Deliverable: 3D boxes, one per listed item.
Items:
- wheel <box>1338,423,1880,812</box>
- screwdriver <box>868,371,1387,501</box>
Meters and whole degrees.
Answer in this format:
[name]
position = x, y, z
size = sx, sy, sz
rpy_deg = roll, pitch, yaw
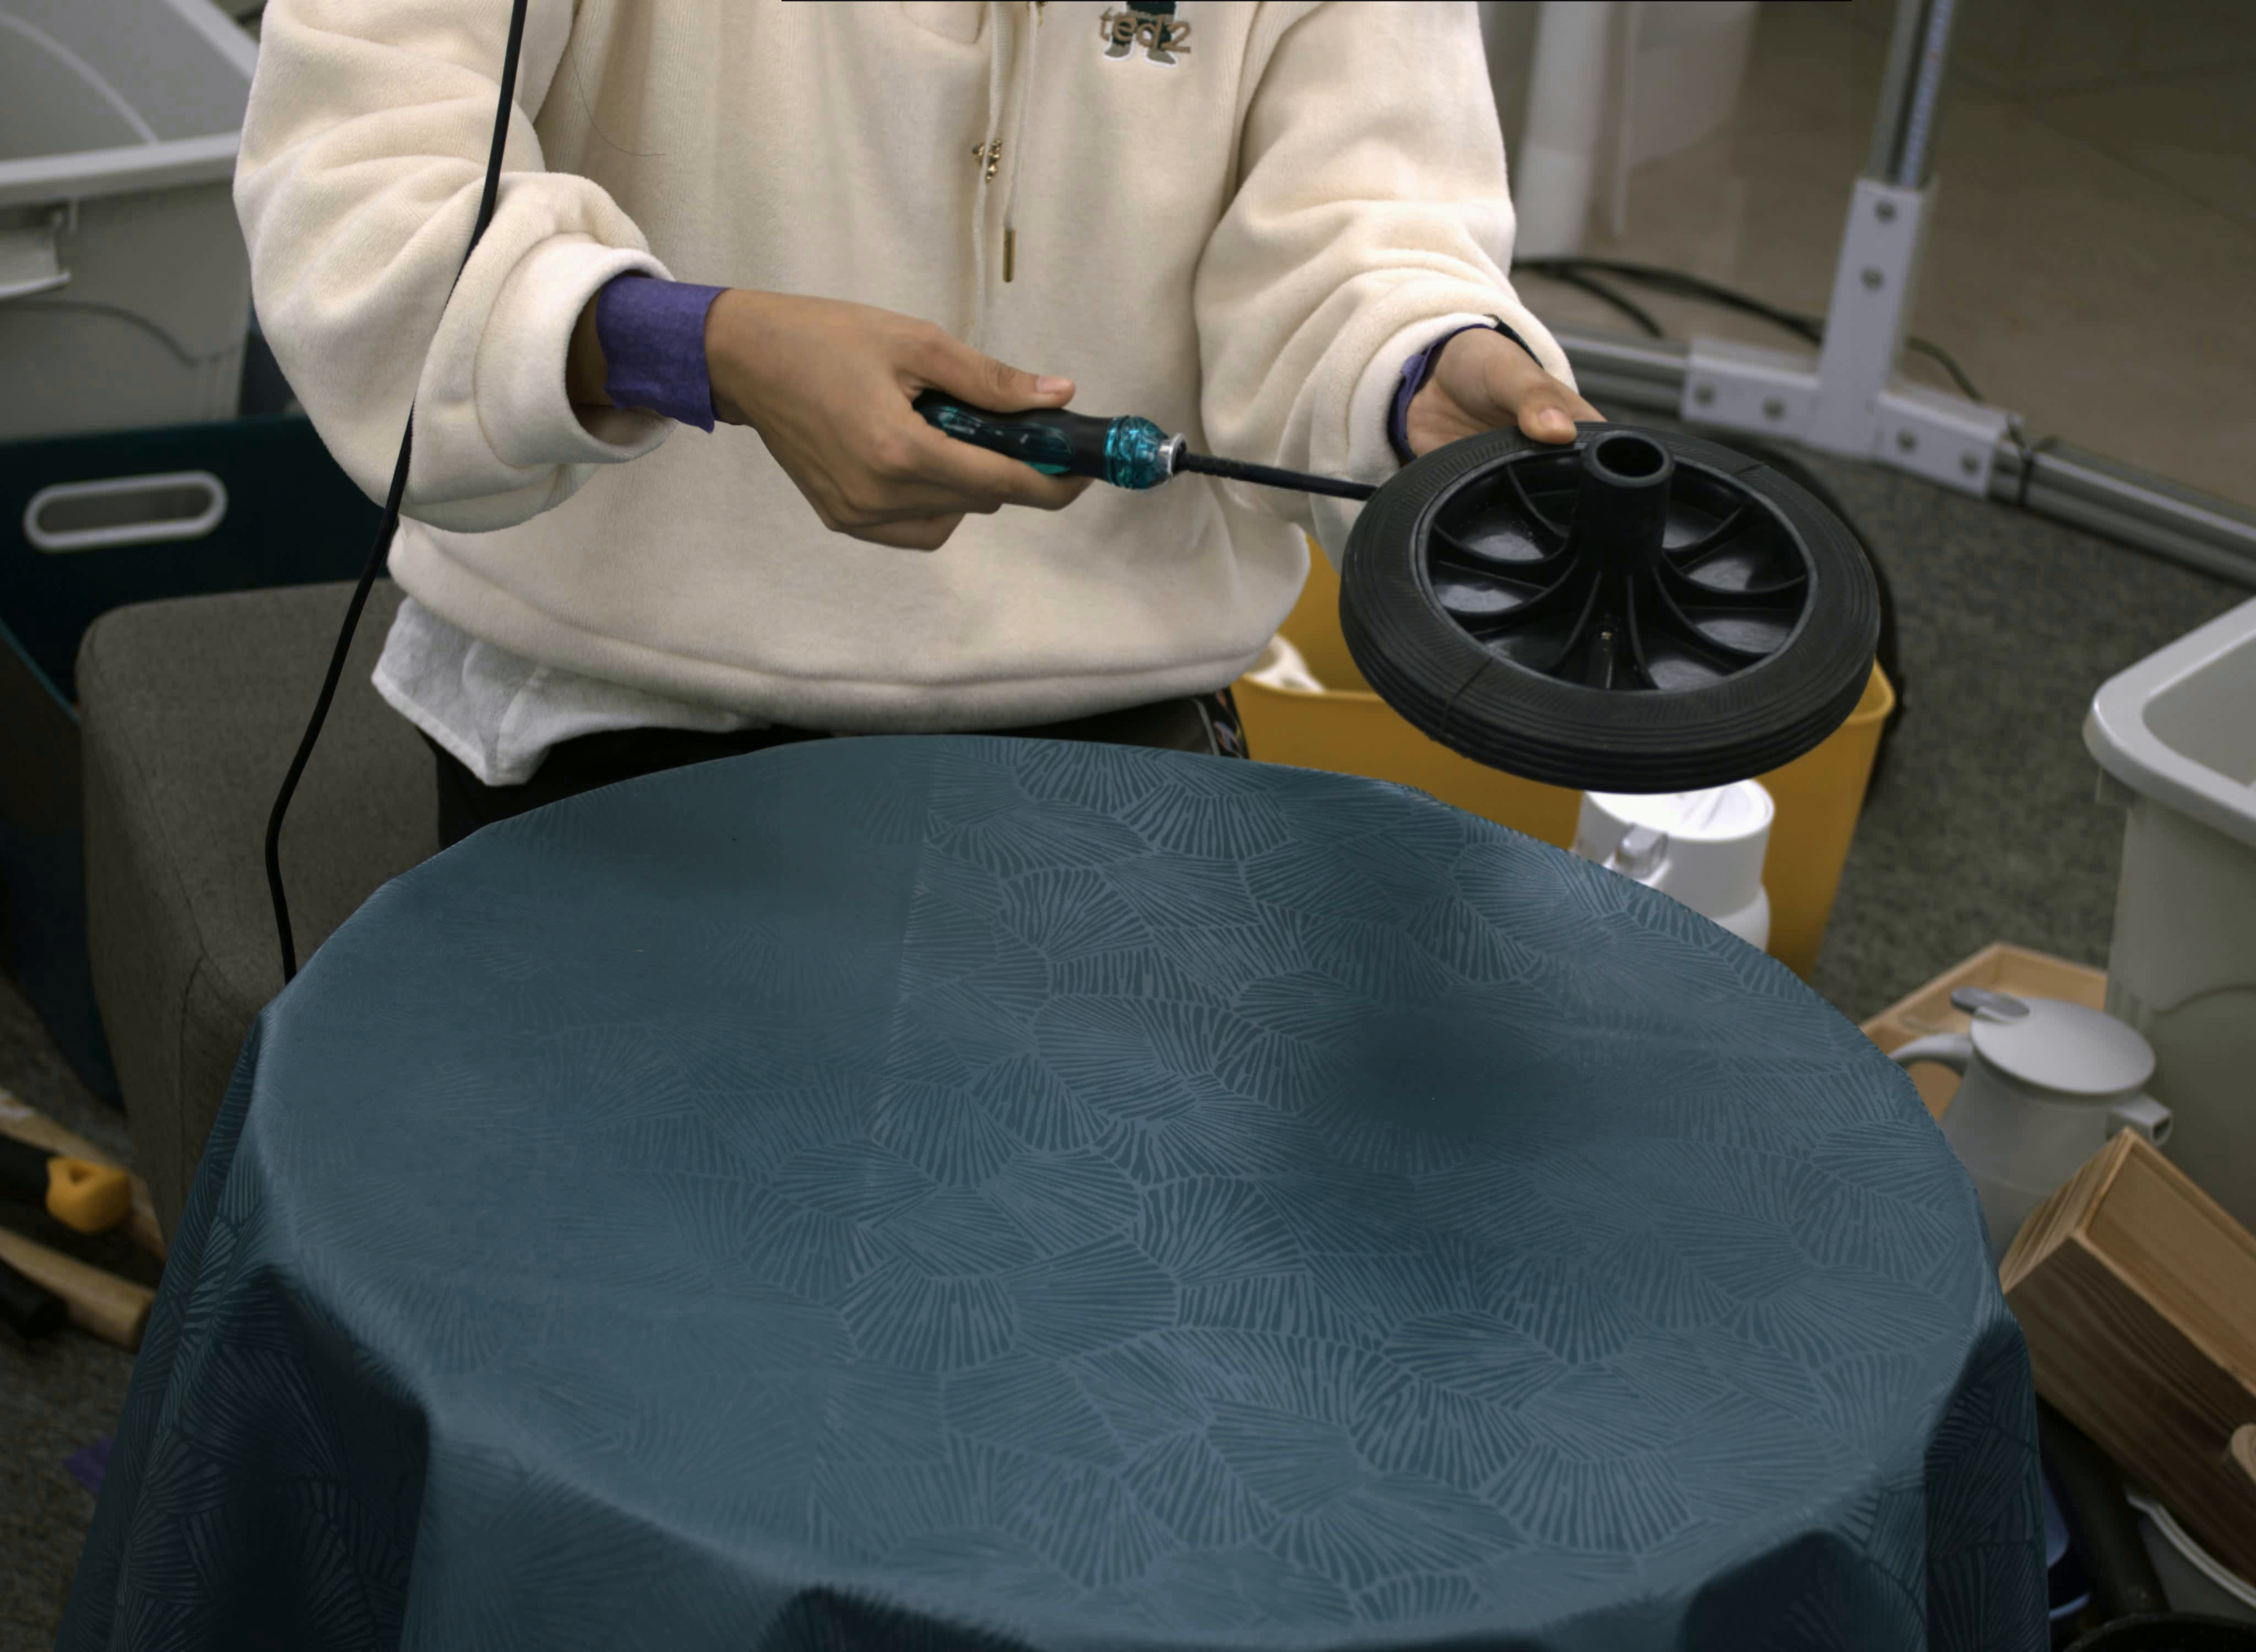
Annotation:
[wheel]
position = 0.168, -0.091, 1.838
size = 0.186, 0.079, 0.191
rpy_deg = -7, 44, -12
[screwdriver]
position = 0.000, -0.131, 1.862
size = 0.190, 0.033, 0.034
rpy_deg = 11, 27, 17
